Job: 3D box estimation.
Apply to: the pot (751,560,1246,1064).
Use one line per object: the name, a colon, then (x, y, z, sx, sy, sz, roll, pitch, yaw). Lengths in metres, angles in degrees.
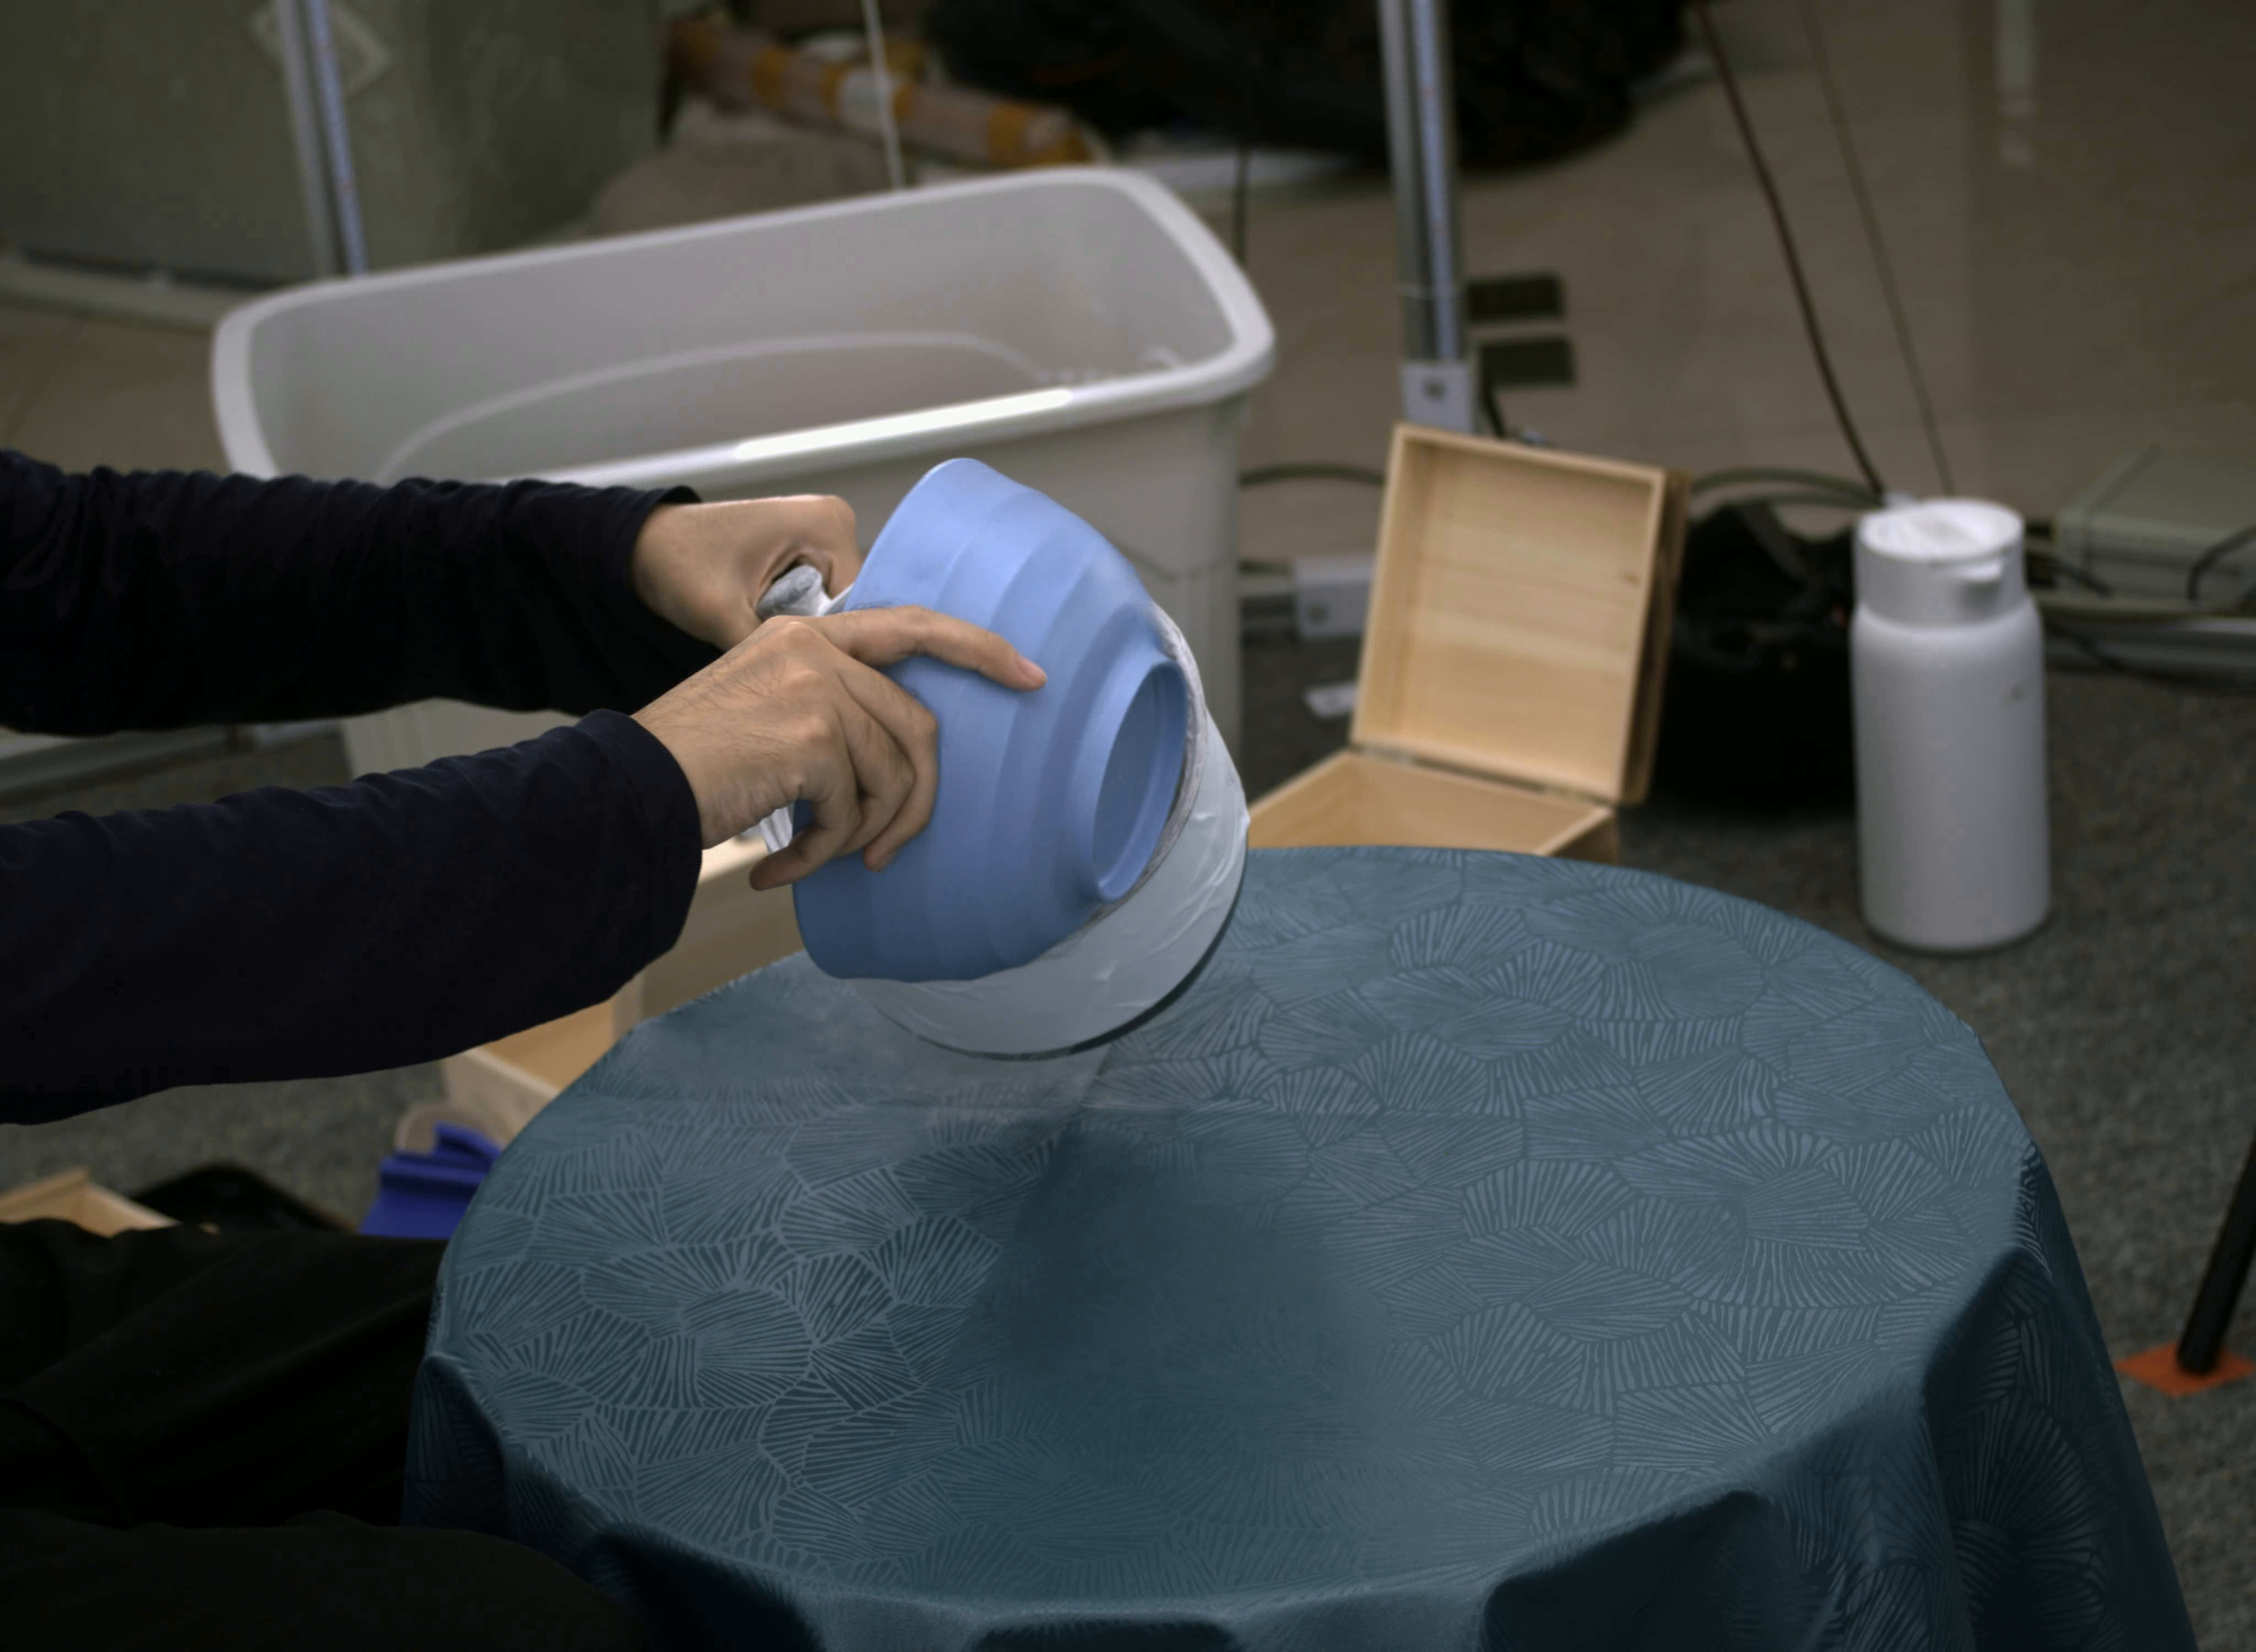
pot: (-0.065, -0.022, 2.209, 0.231, 0.138, 0.178, 40, 78, 21)

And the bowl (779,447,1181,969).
bowl: (-0.042, -0.030, 2.054, 0.095, 0.200, 0.194, 20, 32, 16)
